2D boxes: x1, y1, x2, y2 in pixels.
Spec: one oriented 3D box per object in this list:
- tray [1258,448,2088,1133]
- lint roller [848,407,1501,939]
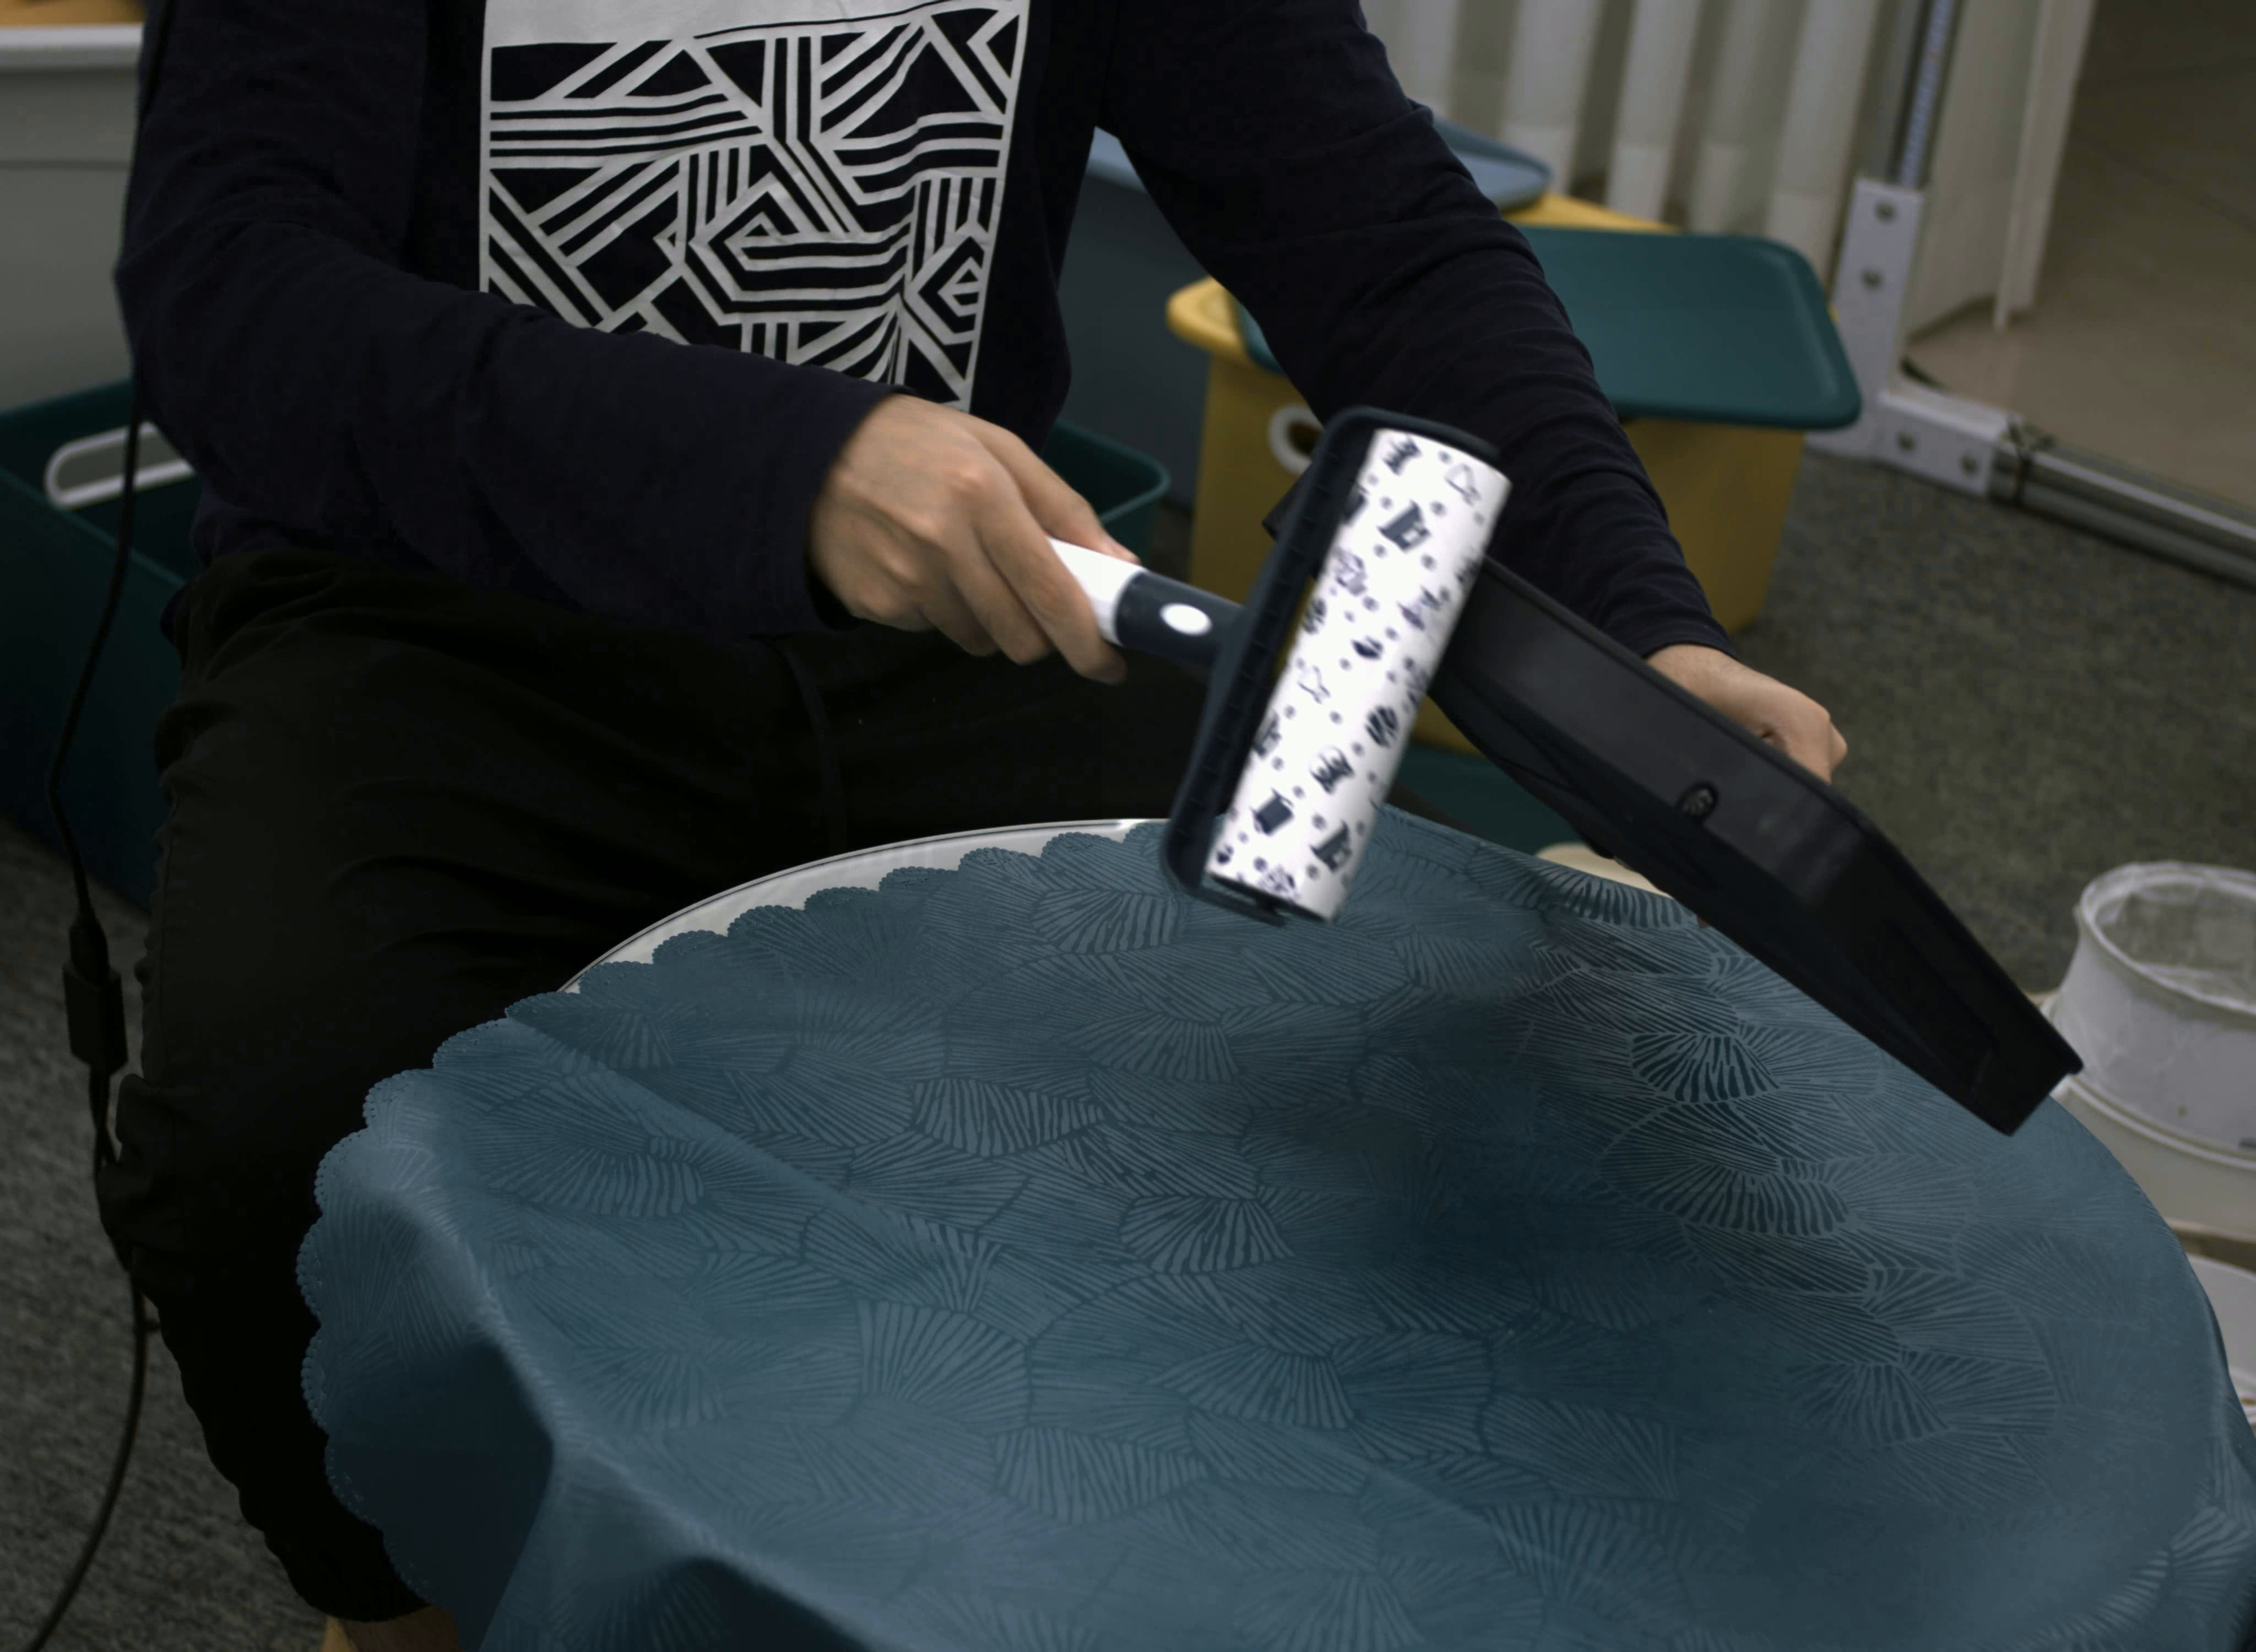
[{"bbox_3d":[0.180,-0.015,1.811,0.182,0.037,0.321,44,-4,-41],"label":"tray"},{"bbox_3d":[-0.004,-0.075,1.819,0.248,0.177,0.050,18,-5,34],"label":"lint roller"}]
